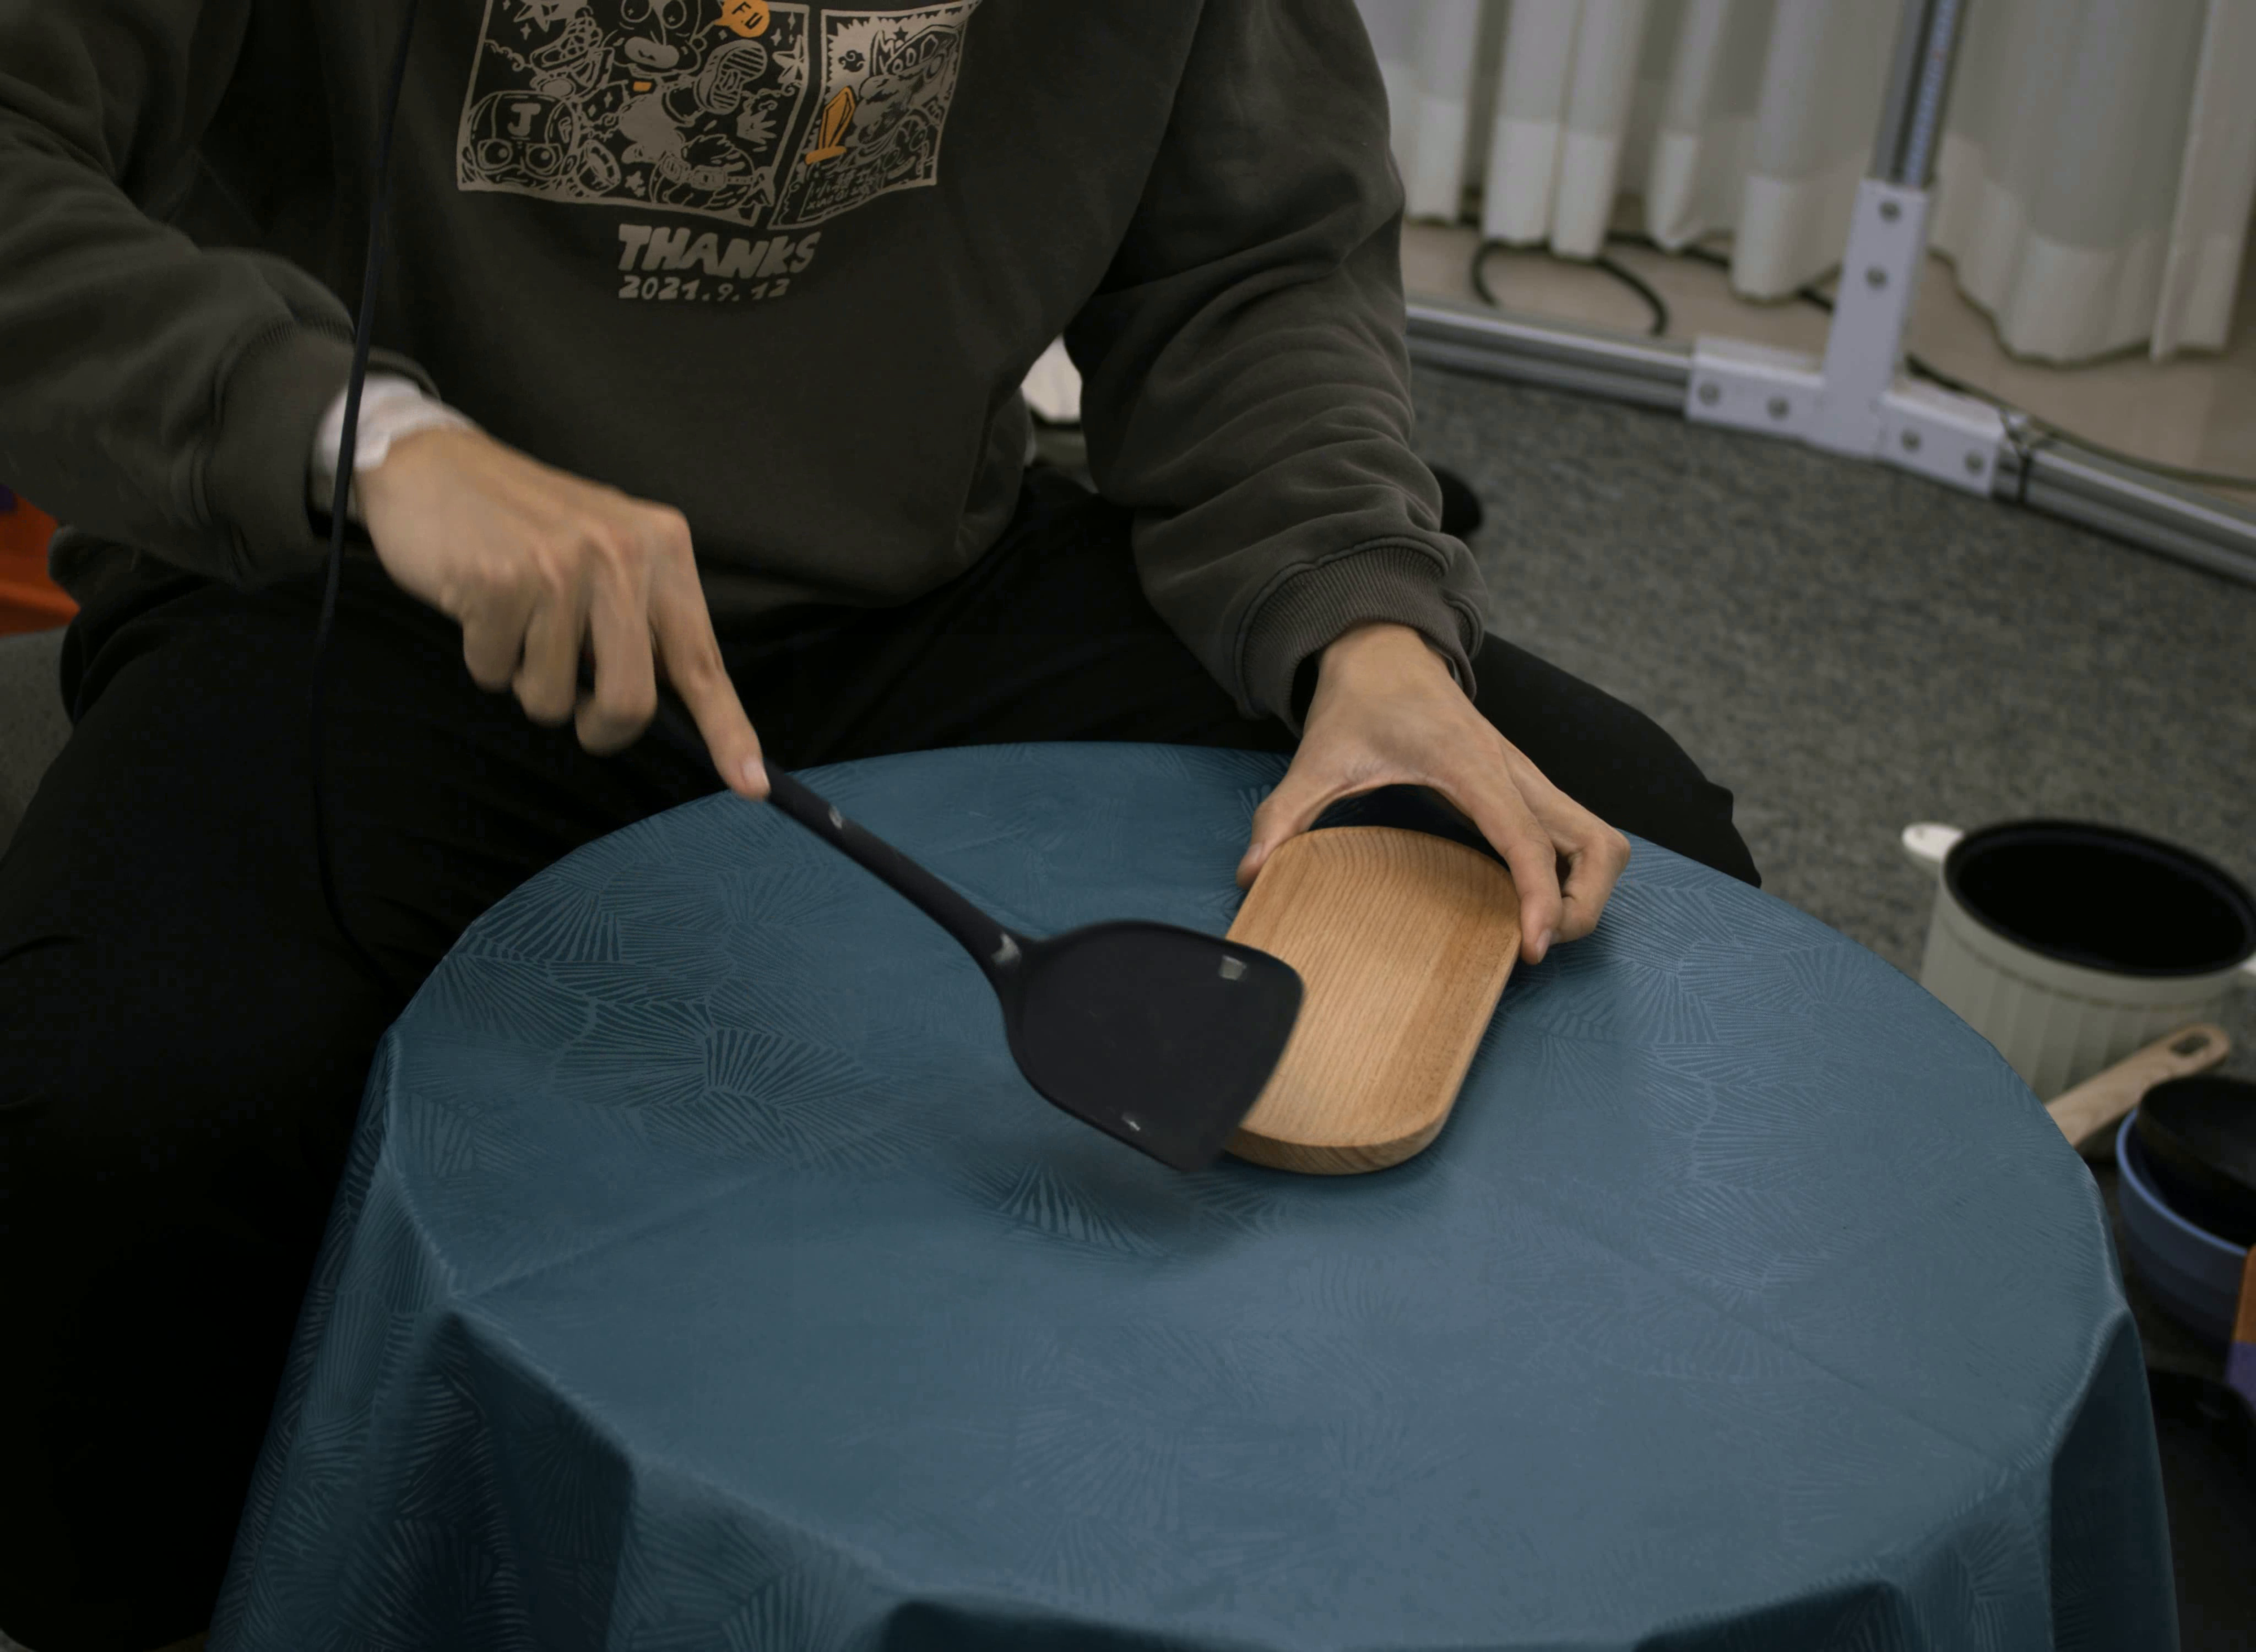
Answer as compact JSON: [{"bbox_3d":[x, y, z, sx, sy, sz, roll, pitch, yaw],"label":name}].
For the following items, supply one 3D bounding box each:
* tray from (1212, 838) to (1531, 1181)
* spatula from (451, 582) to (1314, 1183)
[{"bbox_3d":[0.082,0.064,1.917,0.102,0.020,0.232,12,30,11],"label":"tray"},{"bbox_3d":[-0.090,0.006,1.798,0.325,0.040,0.100,35,51,-3],"label":"spatula"}]
